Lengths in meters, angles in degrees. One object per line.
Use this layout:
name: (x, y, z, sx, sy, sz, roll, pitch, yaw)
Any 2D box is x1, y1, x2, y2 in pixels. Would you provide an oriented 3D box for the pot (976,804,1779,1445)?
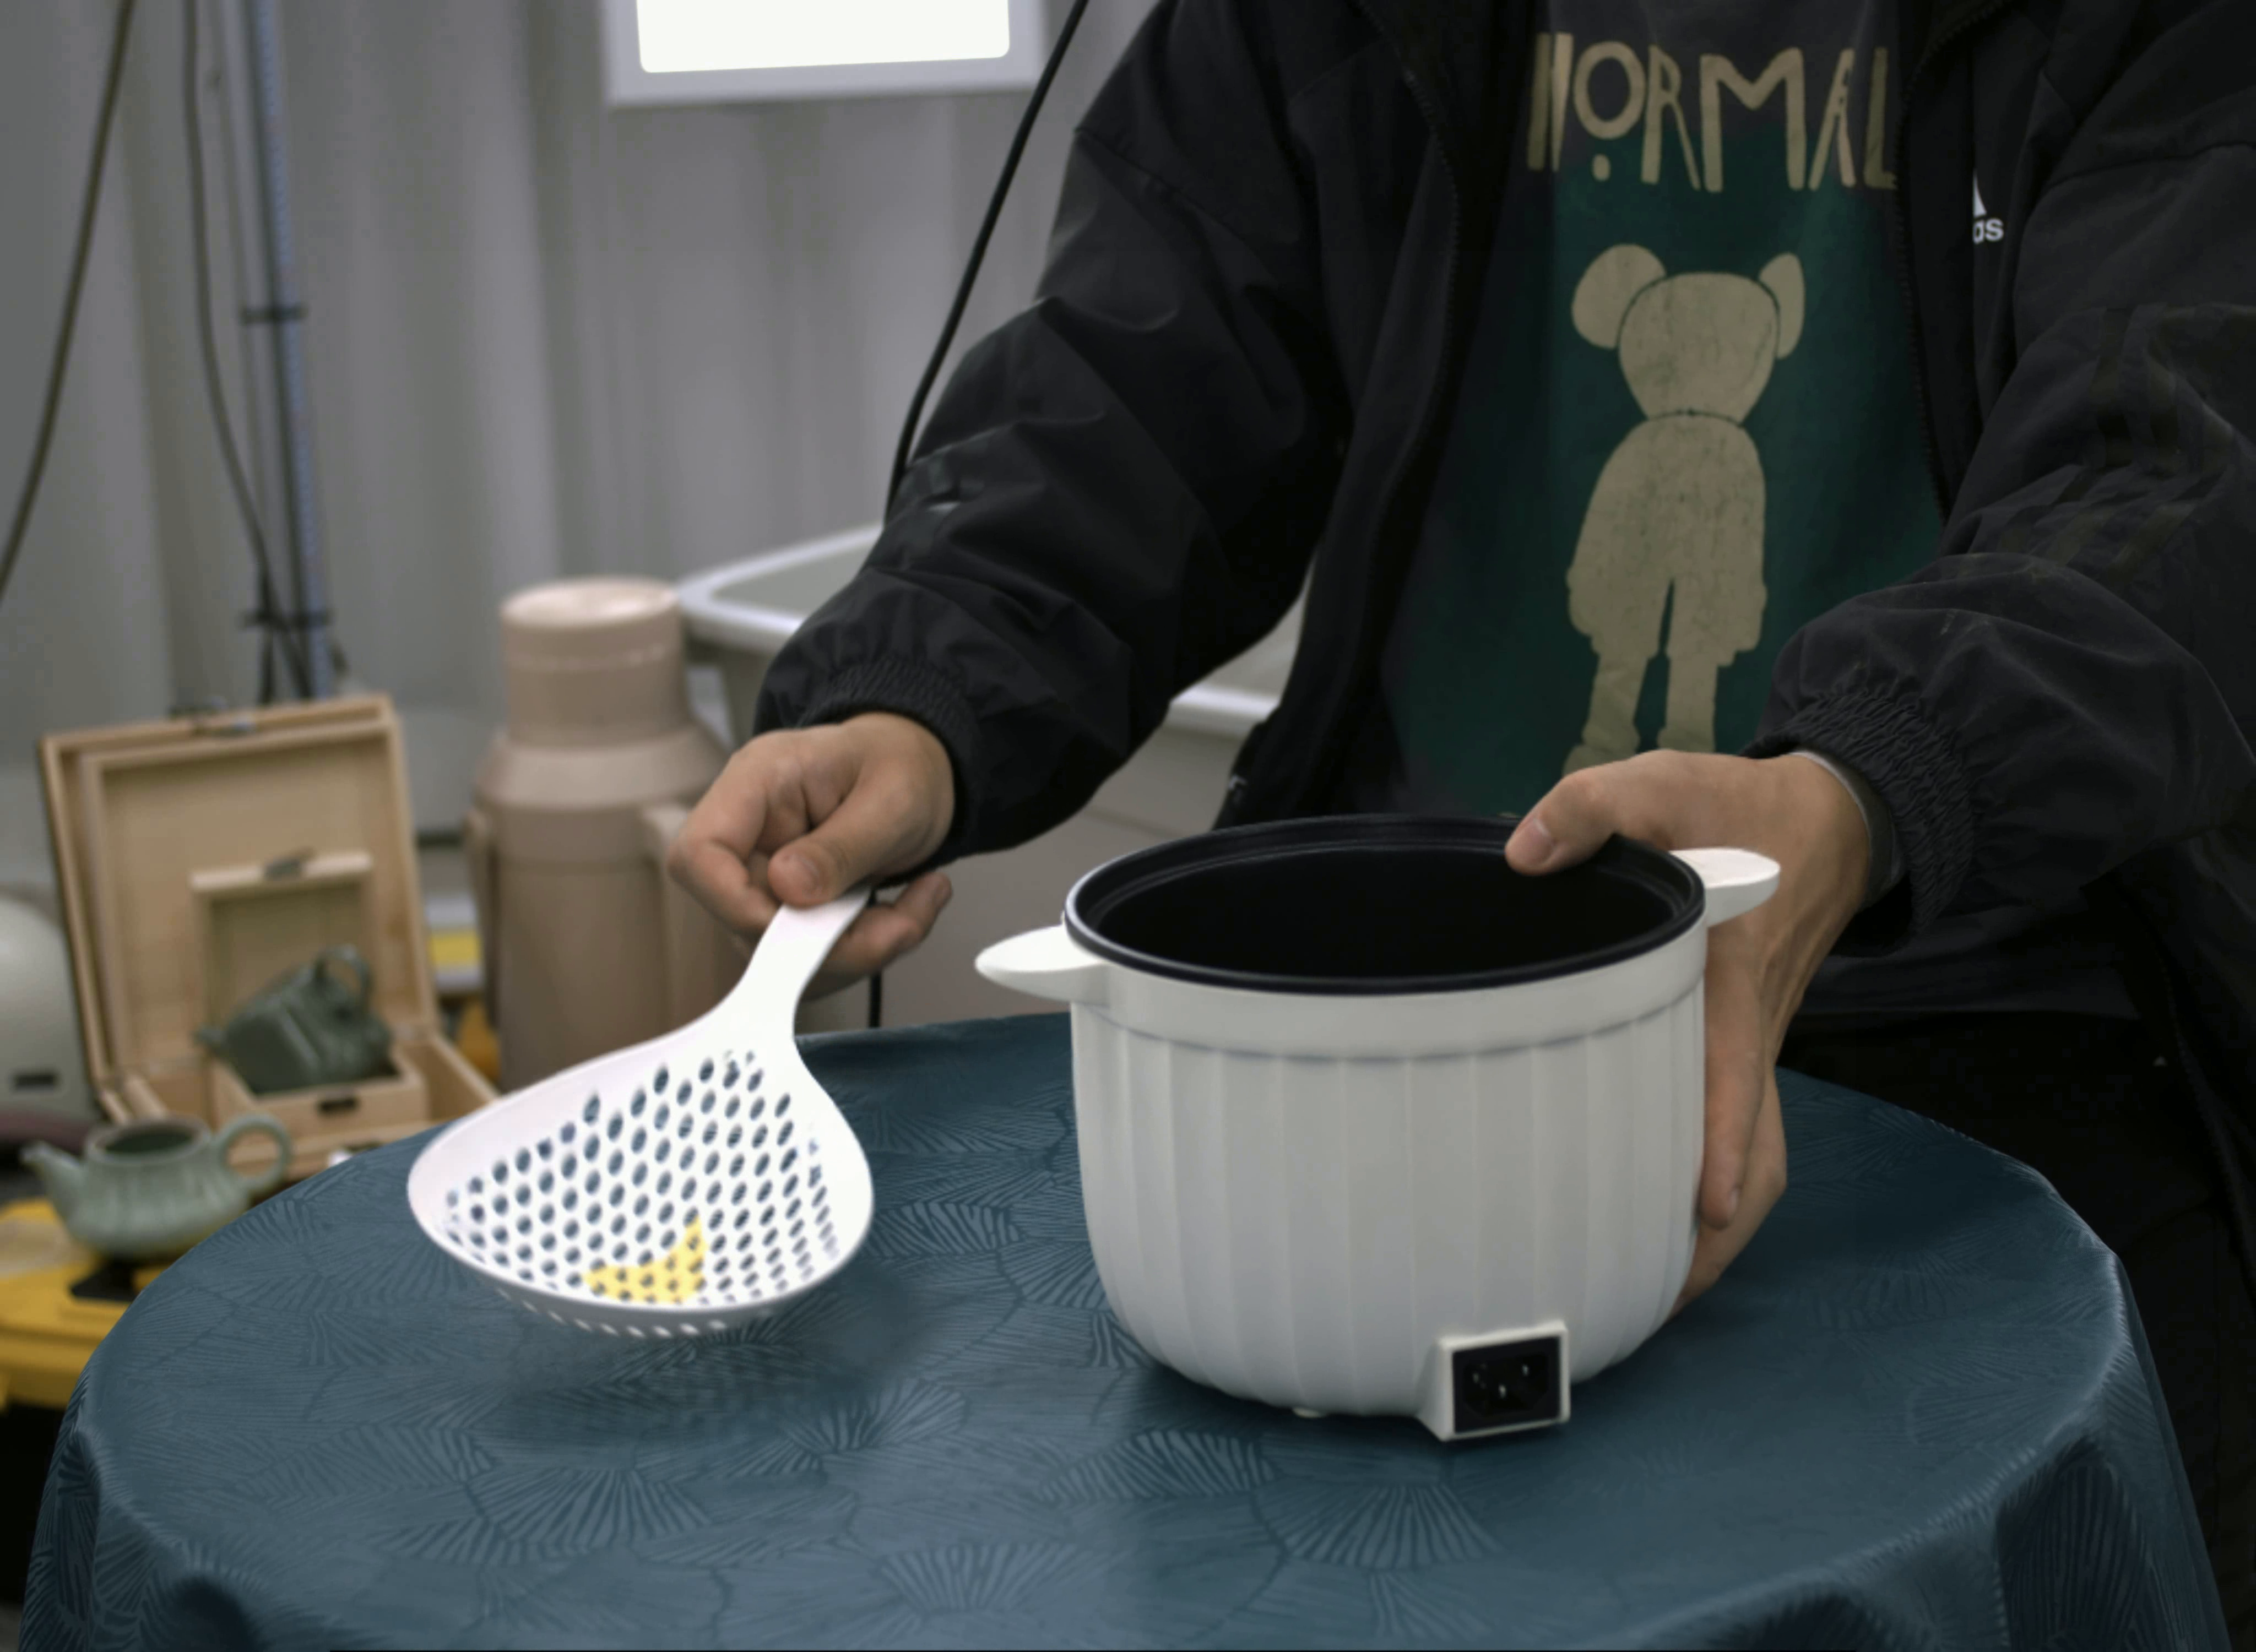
pot: (0.071, 0.082, 1.555, 0.239, 0.142, 0.192, -6, 18, -18)

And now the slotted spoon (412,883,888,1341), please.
slotted spoon: (-0.121, 0.076, 1.696, 0.136, 0.050, 0.351, 7, 26, 7)
